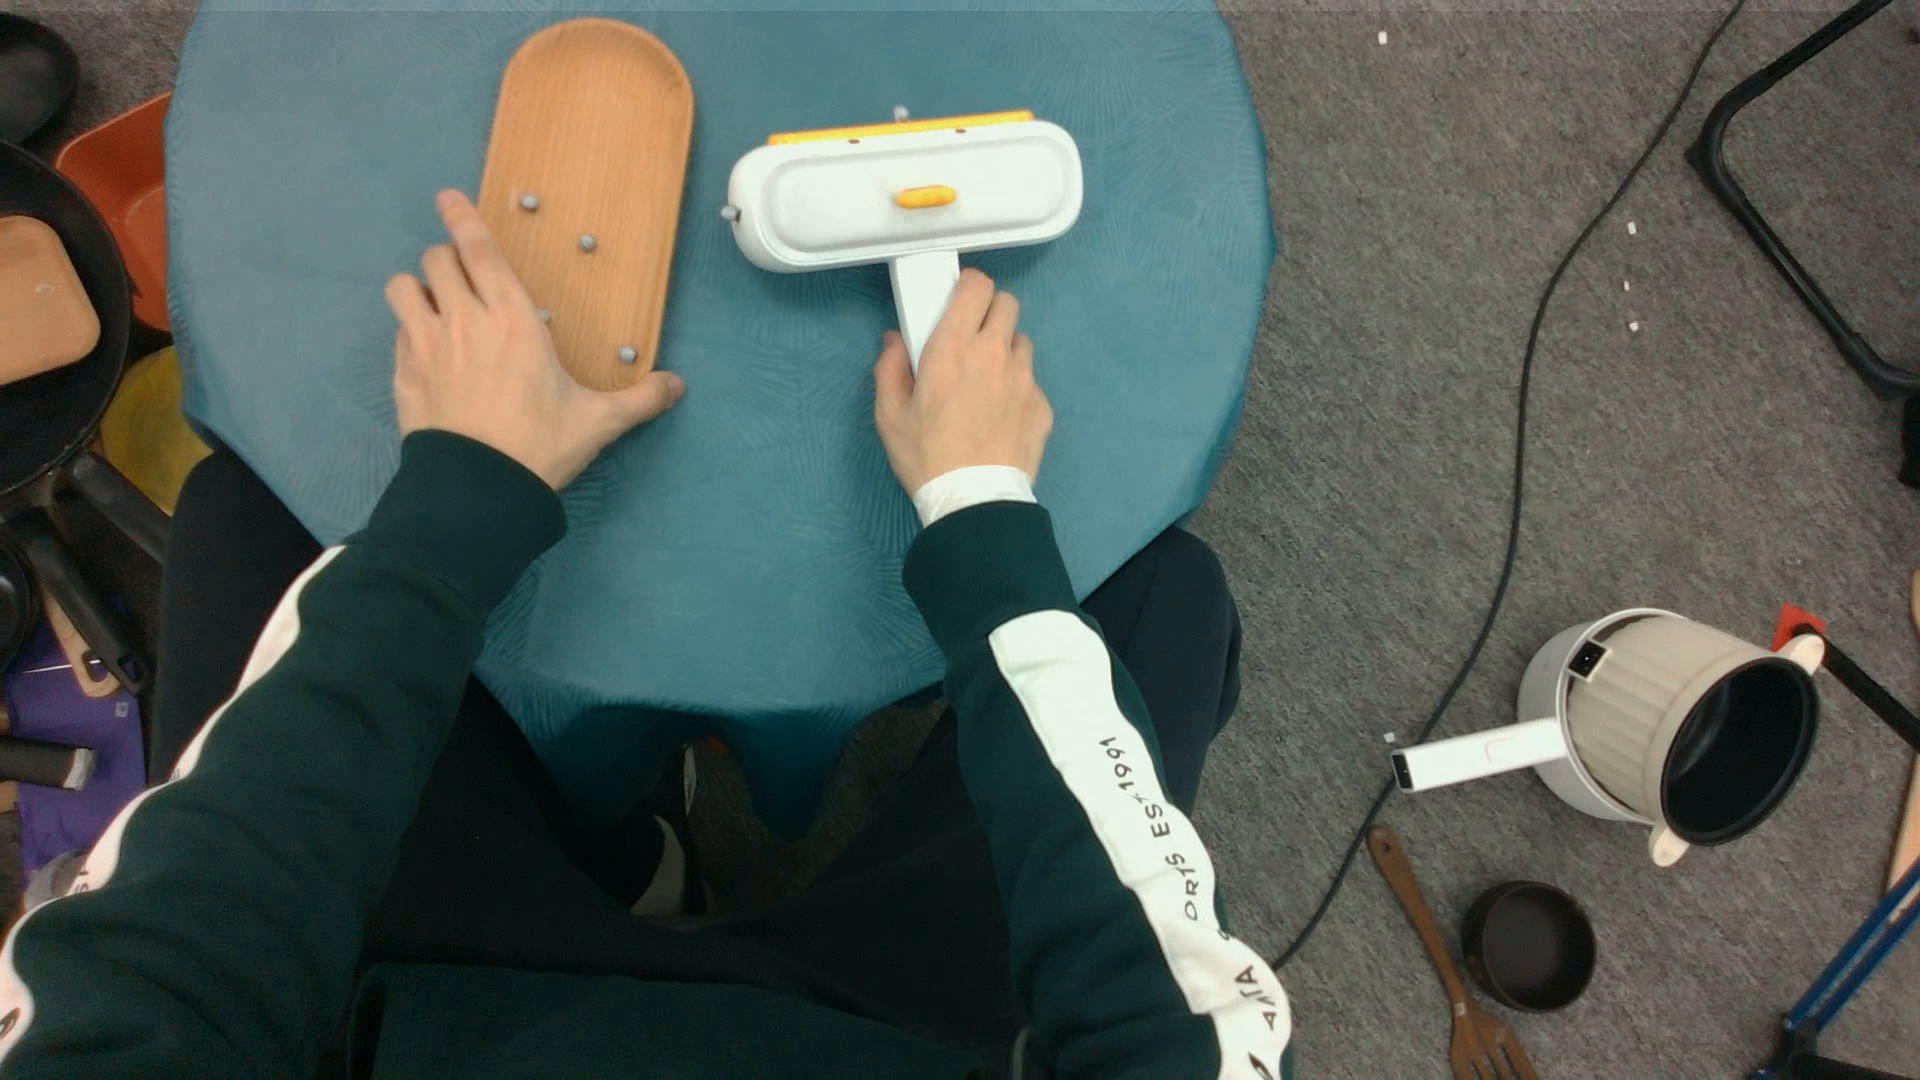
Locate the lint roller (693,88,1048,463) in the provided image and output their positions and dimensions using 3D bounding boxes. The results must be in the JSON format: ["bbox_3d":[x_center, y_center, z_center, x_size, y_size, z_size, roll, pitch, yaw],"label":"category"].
[{"bbox_3d":[-0.029,-0.135,0.733,0.193,0.074,0.192,-16,98,-20],"label":"lint roller"}]

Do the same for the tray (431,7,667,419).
[{"bbox_3d":[-0.213,-0.174,0.723,0.102,0.020,0.231,6,76,-8],"label":"tray"}]
